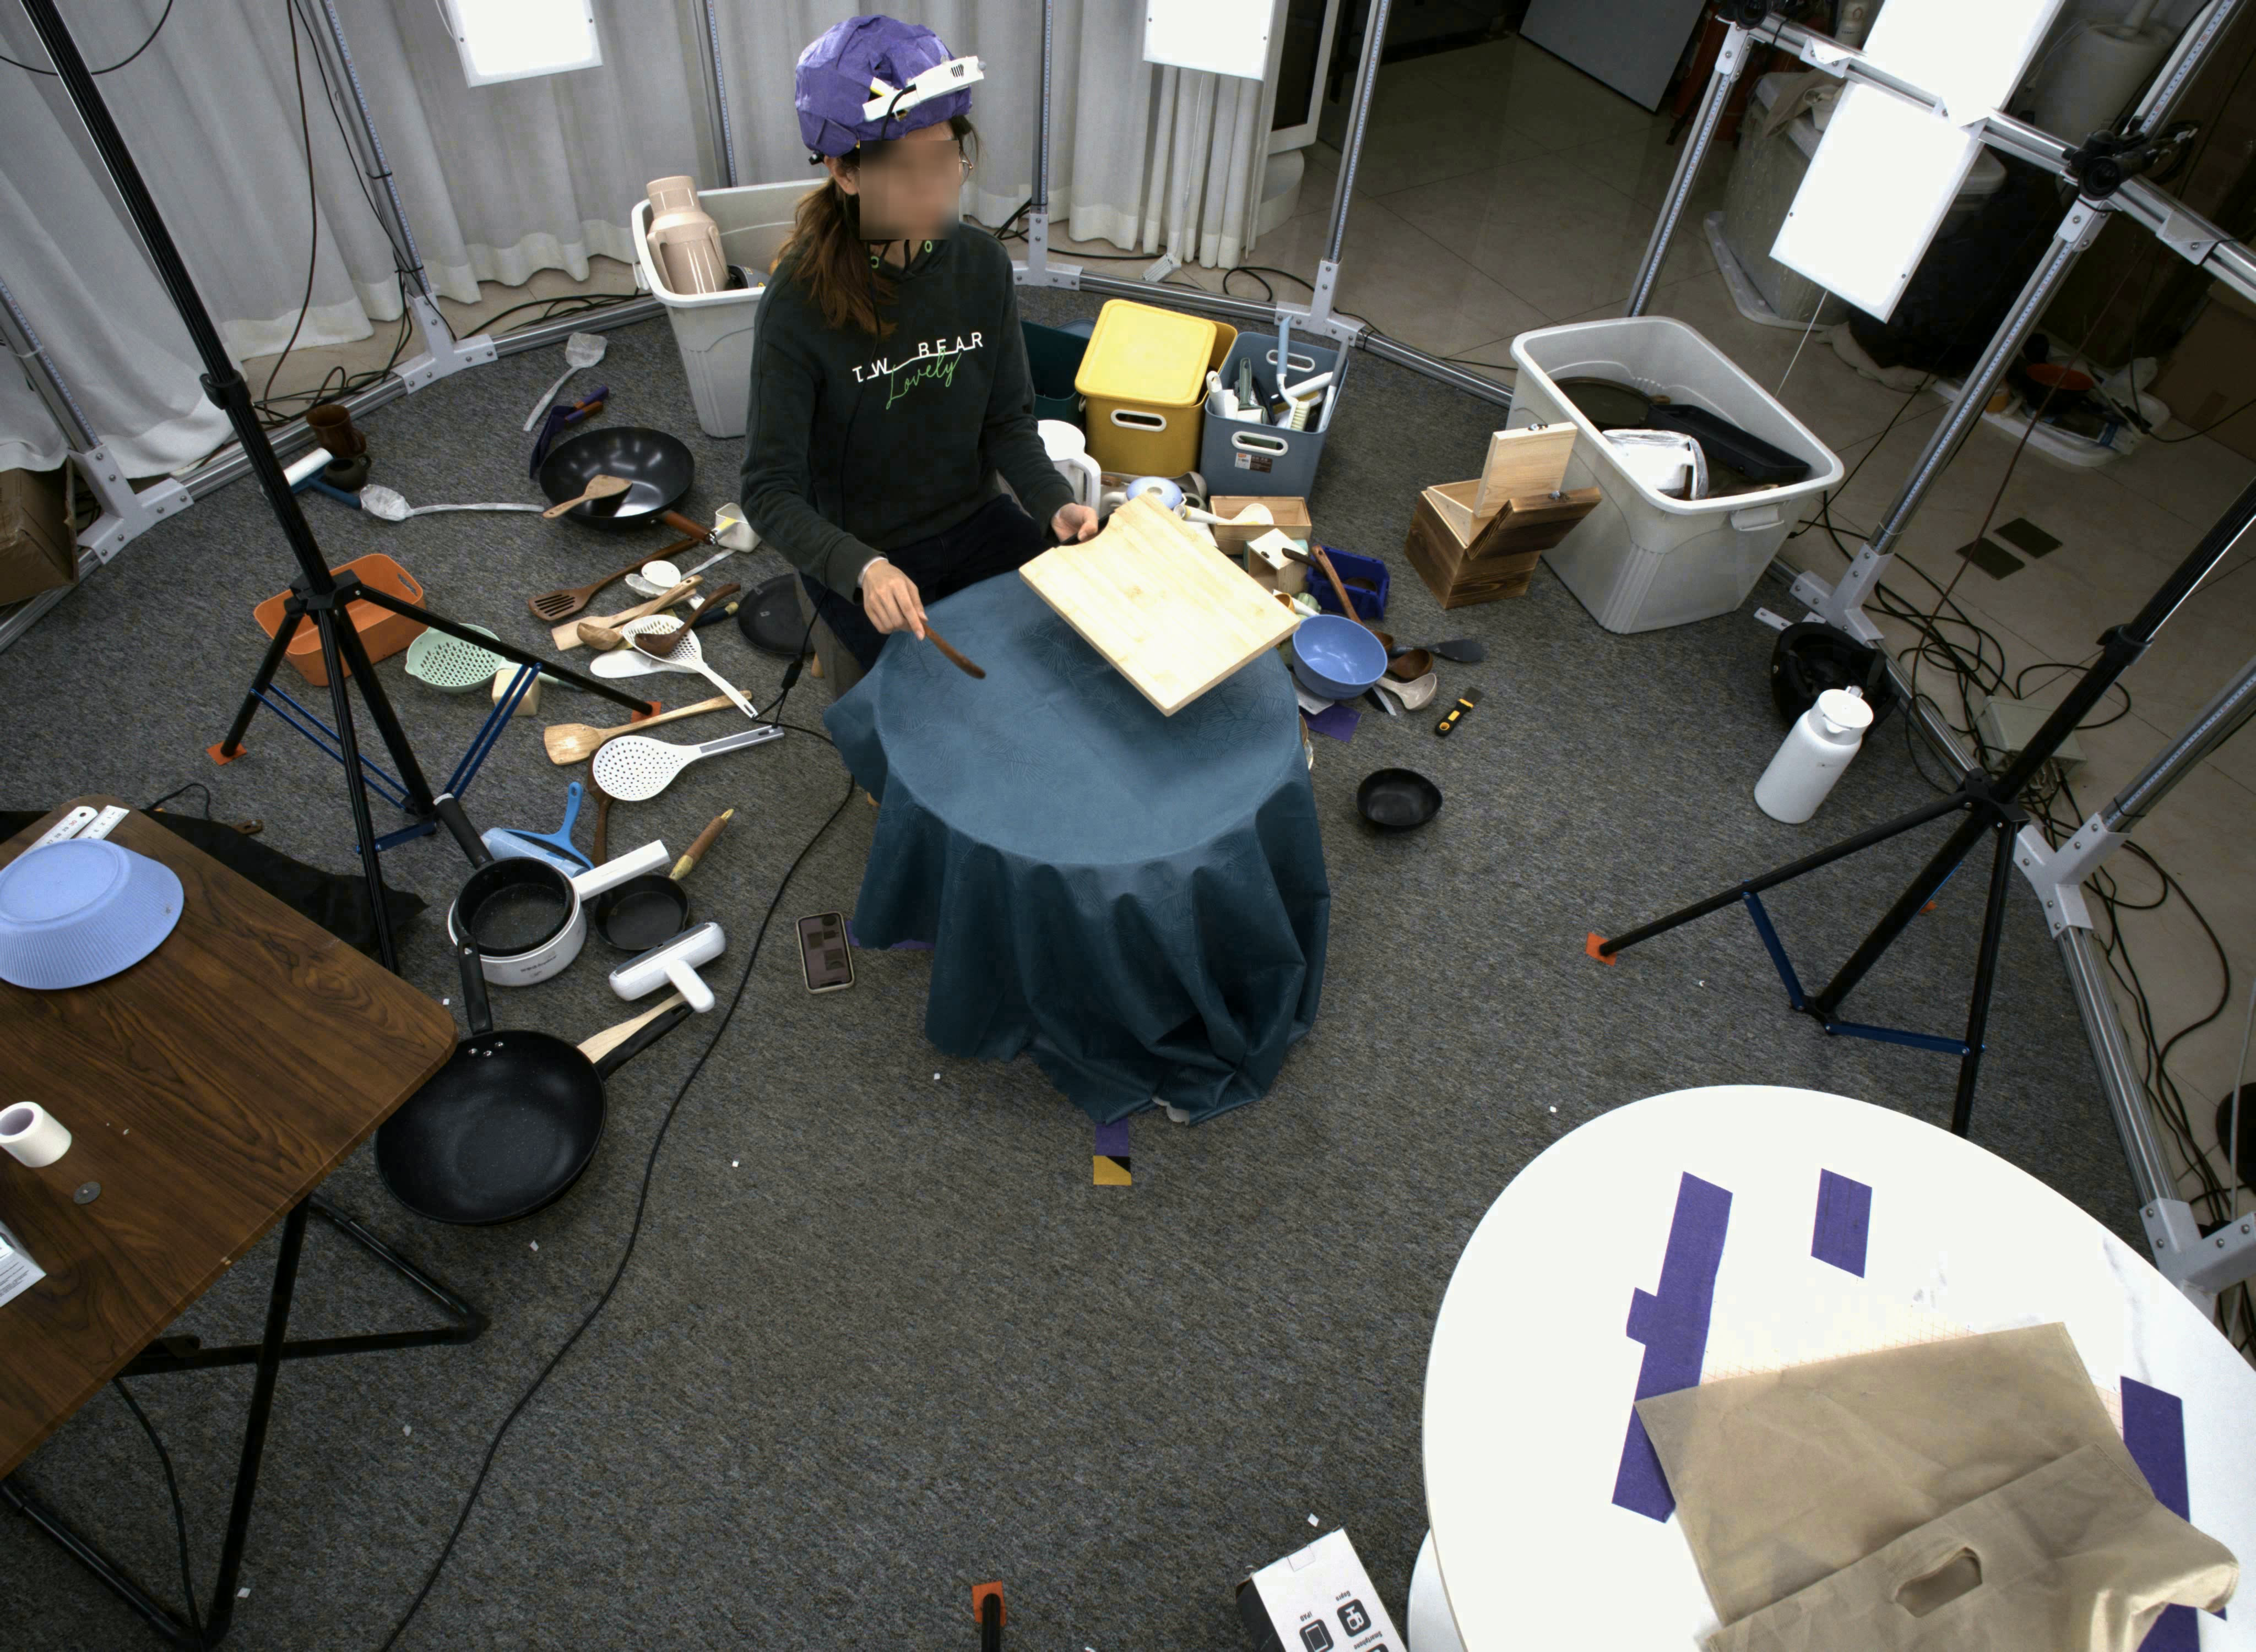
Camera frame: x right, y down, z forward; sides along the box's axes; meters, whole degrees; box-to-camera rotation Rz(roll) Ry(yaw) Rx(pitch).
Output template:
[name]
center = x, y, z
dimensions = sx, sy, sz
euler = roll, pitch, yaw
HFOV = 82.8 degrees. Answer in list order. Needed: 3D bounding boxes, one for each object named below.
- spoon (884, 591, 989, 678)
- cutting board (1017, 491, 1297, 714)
[spoon]
center = -0.260, -0.256, 1.724
dimensions = 0.017, 0.074, 0.219
euler = -50, 58, 1
[cutting board]
center = 0.037, -0.327, 1.838
dimensions = 0.252, 0.023, 0.355
euler = -35, 60, -19
